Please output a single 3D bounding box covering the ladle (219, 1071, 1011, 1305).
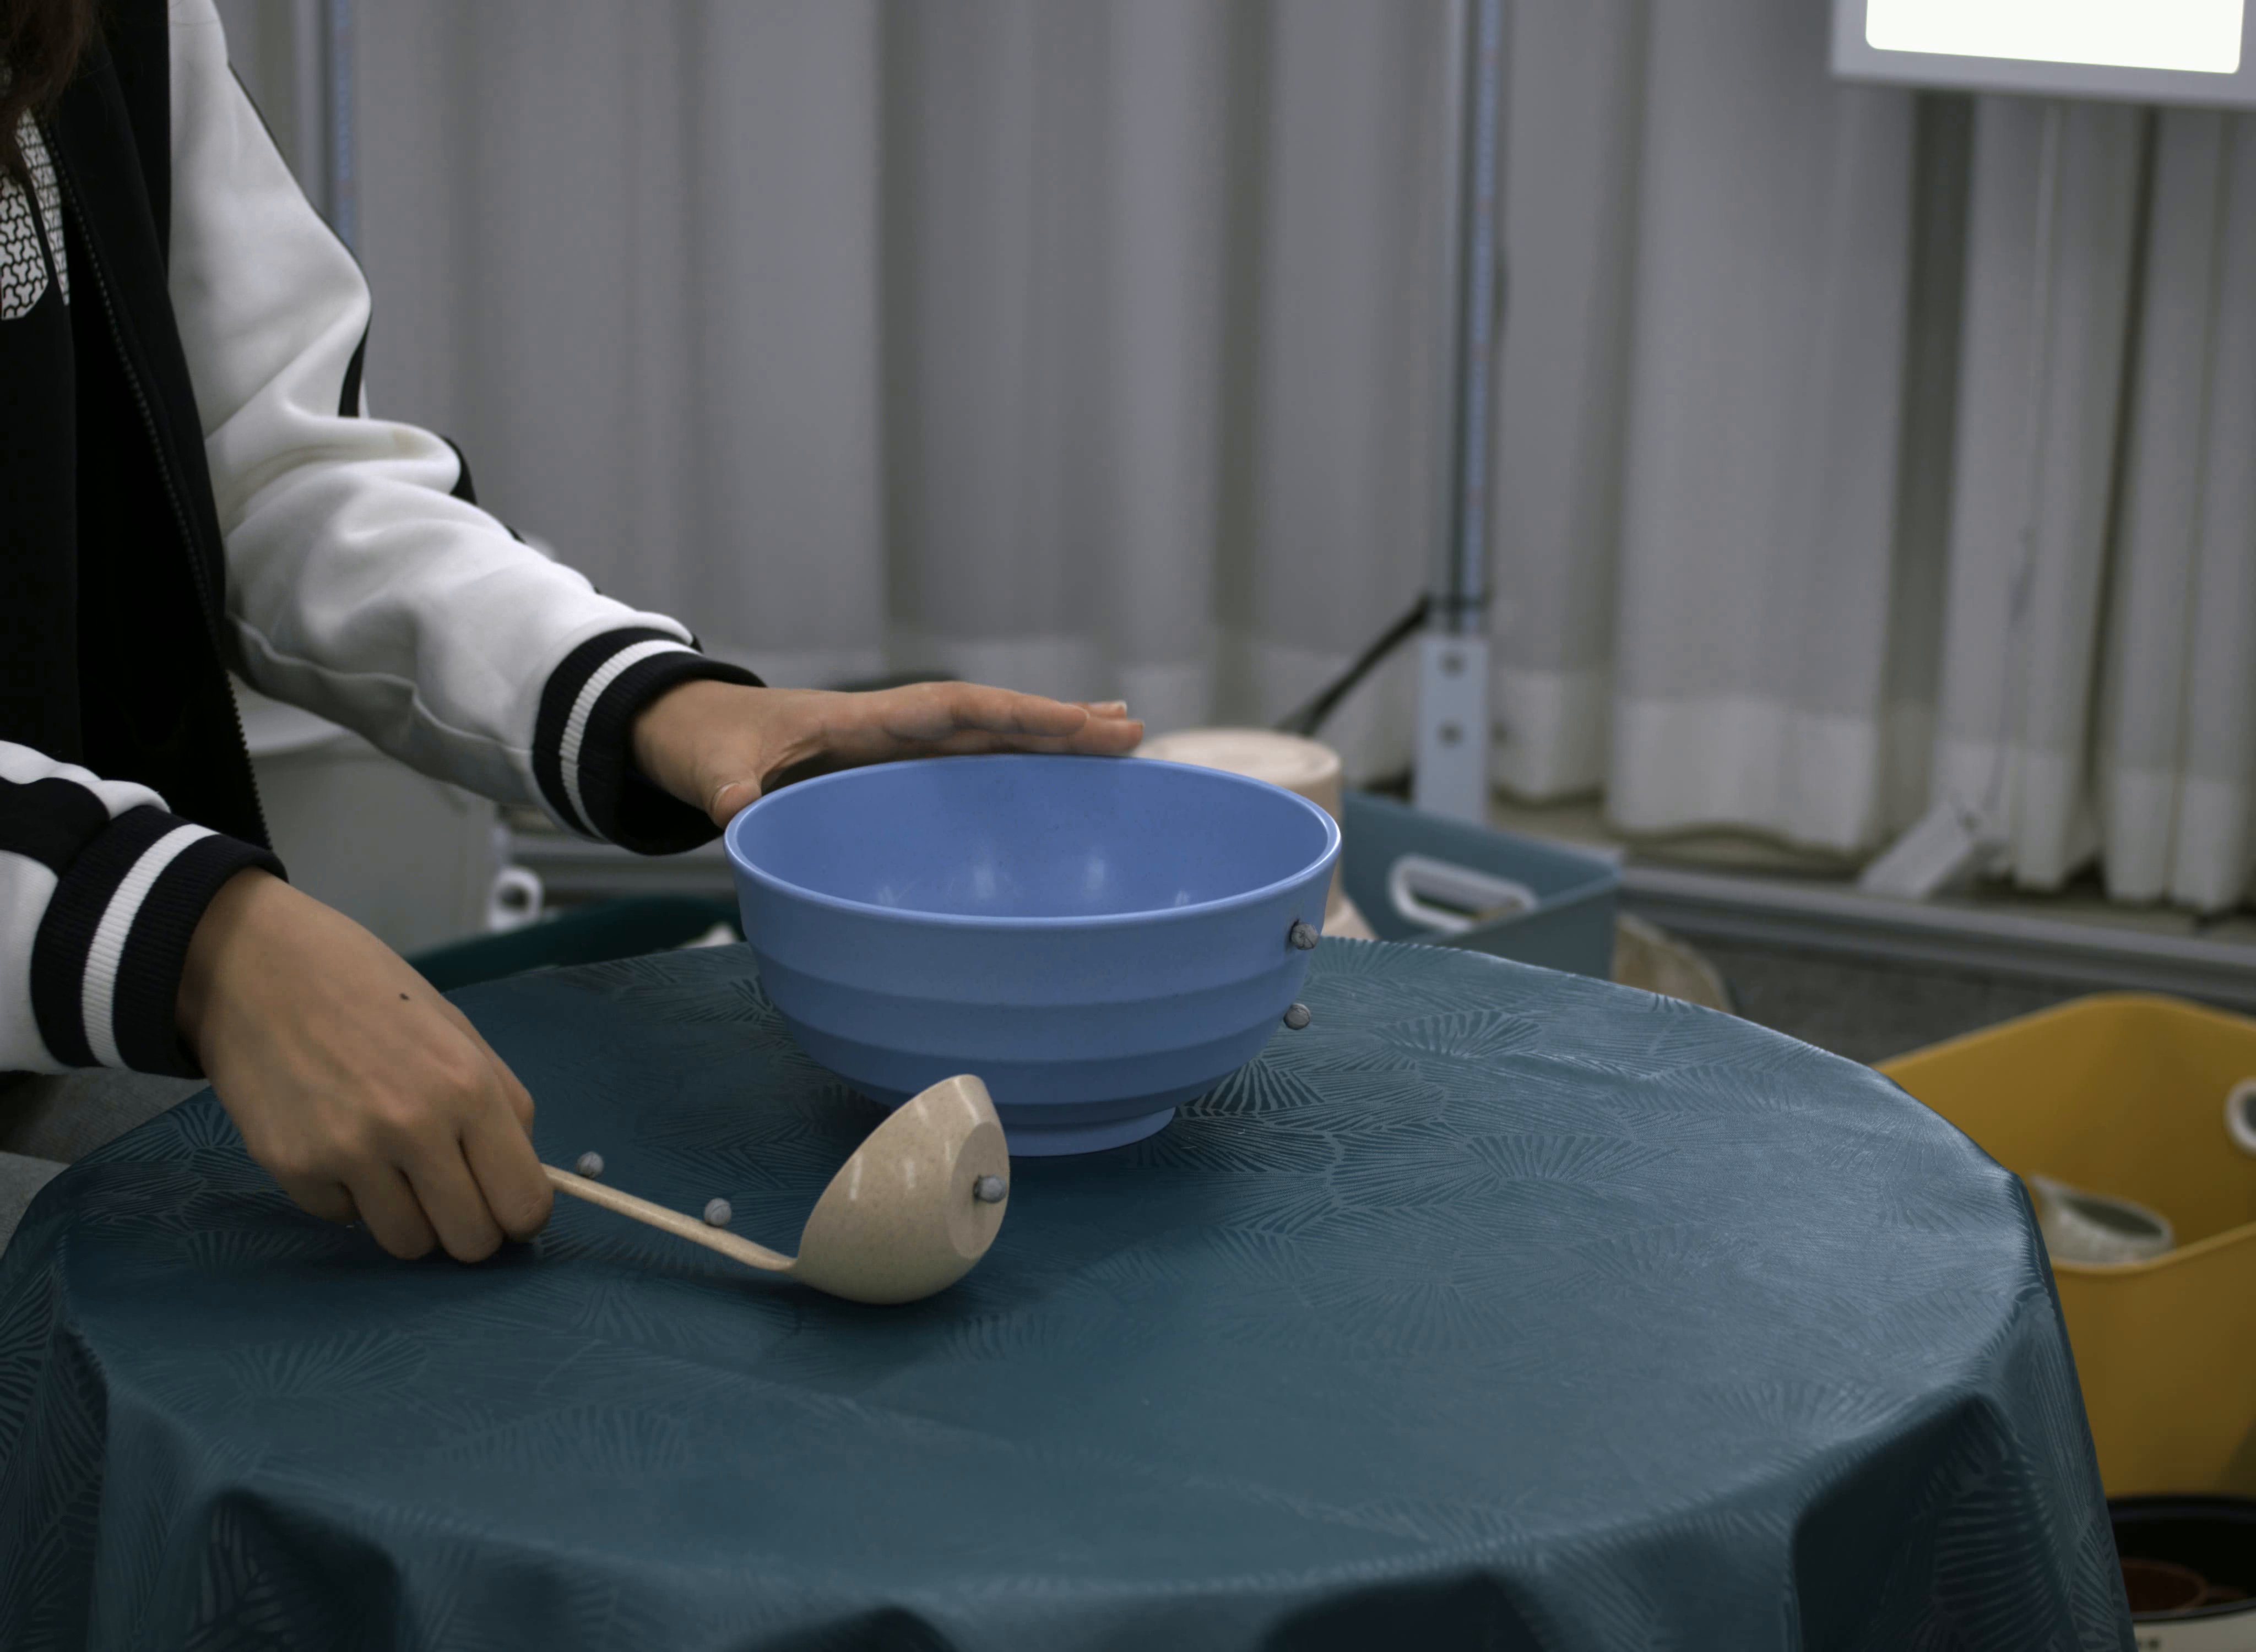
[{"bbox_3d":[-0.155,0.083,1.554,0.252,0.073,0.072,13,3,22],"label":"ladle"}]

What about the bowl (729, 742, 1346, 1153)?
[{"bbox_3d":[-0.031,0.045,1.681,0.196,0.096,0.195,3,16,0],"label":"bowl"}]
